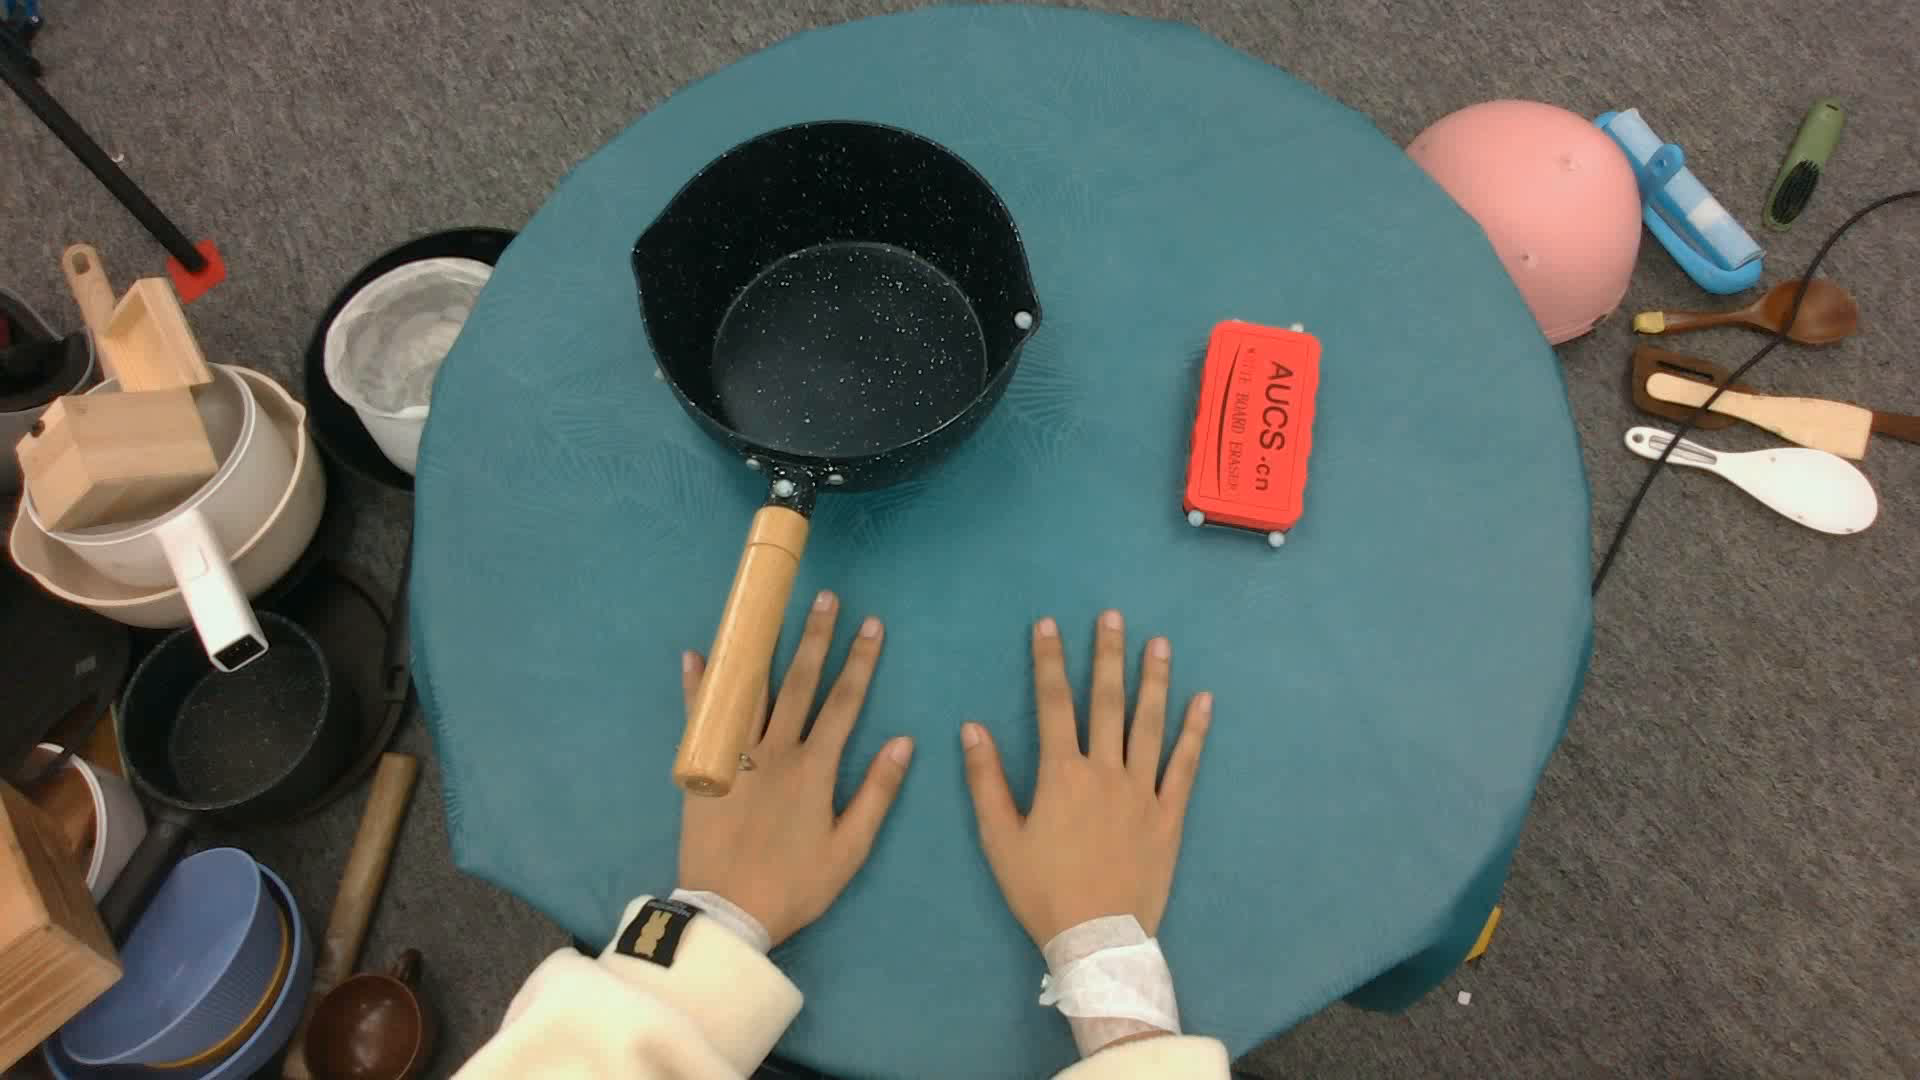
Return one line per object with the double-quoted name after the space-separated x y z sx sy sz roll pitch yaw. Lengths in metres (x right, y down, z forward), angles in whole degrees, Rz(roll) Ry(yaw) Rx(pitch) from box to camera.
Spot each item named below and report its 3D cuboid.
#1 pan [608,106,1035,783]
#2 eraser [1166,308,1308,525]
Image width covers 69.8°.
-0.078 -0.045 0.651 0.207 0.108 0.344 9 68 2 "pan"
0.142 -0.064 0.704 0.059 0.023 0.108 11 70 4 "eraser"
